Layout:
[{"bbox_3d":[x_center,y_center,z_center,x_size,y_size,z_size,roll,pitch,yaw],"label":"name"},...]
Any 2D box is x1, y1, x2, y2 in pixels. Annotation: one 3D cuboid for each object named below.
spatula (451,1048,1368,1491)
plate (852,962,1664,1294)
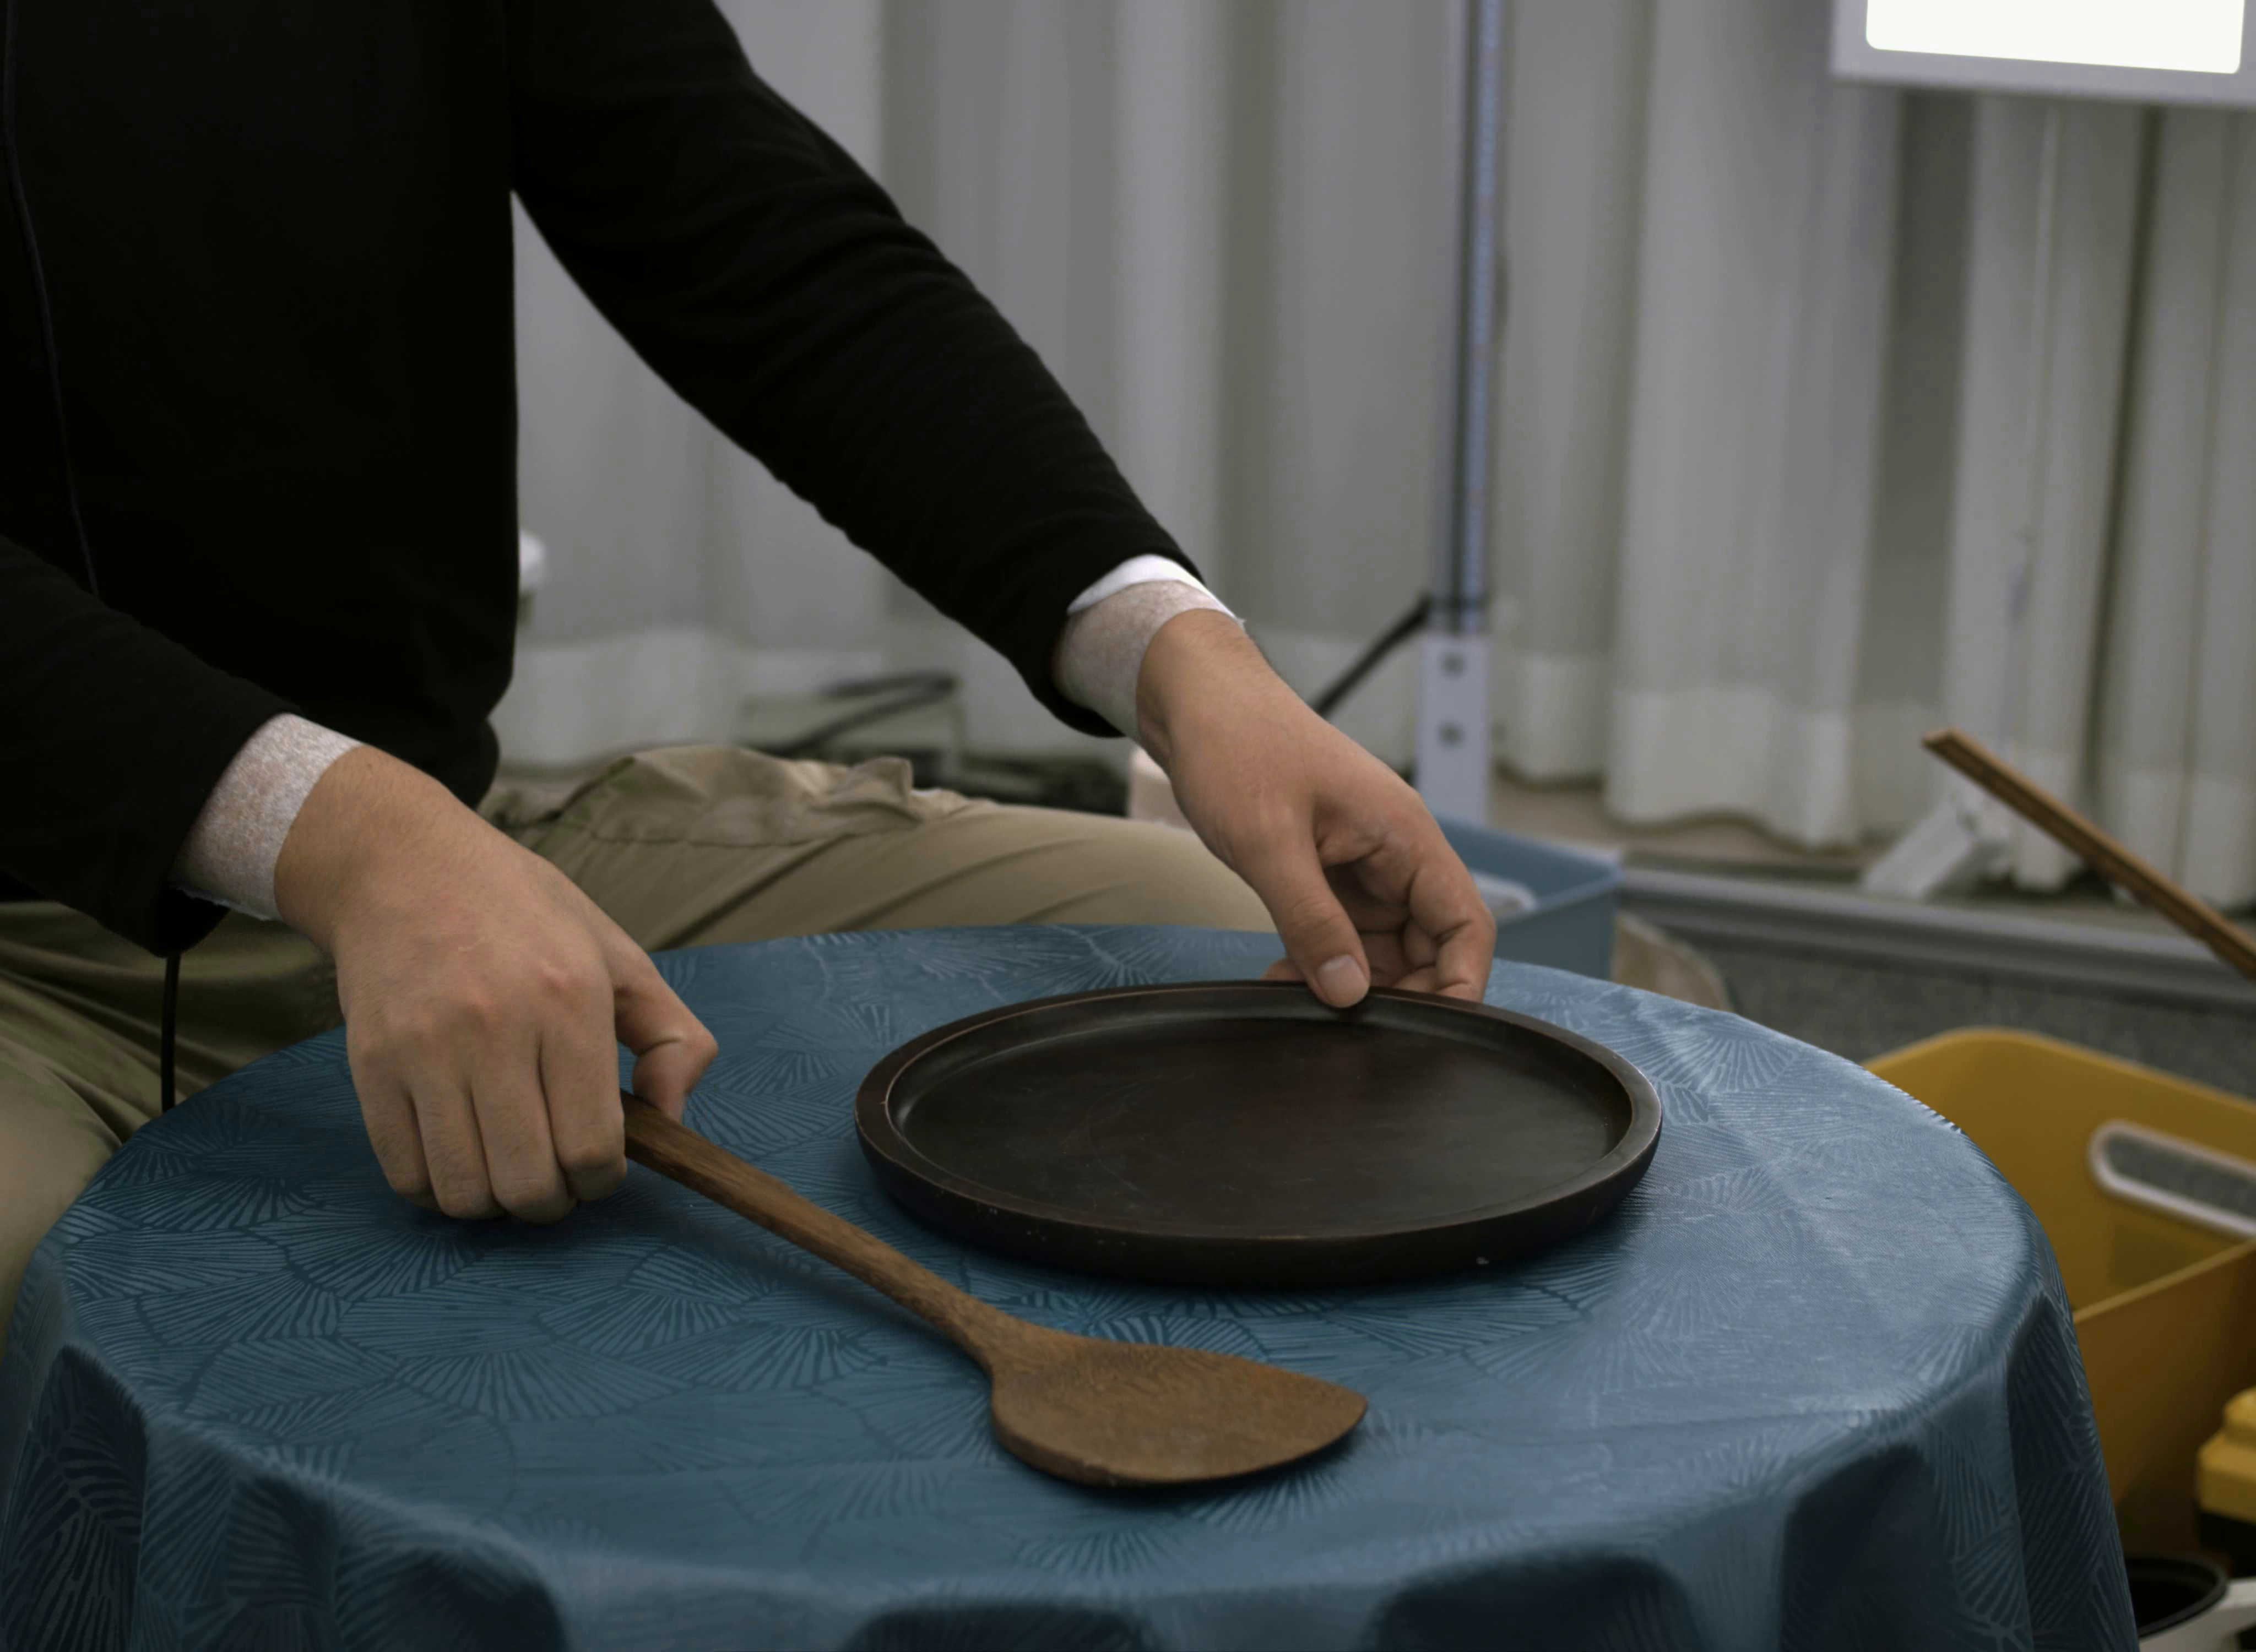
[{"bbox_3d":[-0.085,0.122,1.529,0.096,0.016,0.380,-12,24,-40],"label":"spatula"},{"bbox_3d":[0.040,0.094,1.641,0.254,0.029,0.253,-1,16,1],"label":"plate"}]
